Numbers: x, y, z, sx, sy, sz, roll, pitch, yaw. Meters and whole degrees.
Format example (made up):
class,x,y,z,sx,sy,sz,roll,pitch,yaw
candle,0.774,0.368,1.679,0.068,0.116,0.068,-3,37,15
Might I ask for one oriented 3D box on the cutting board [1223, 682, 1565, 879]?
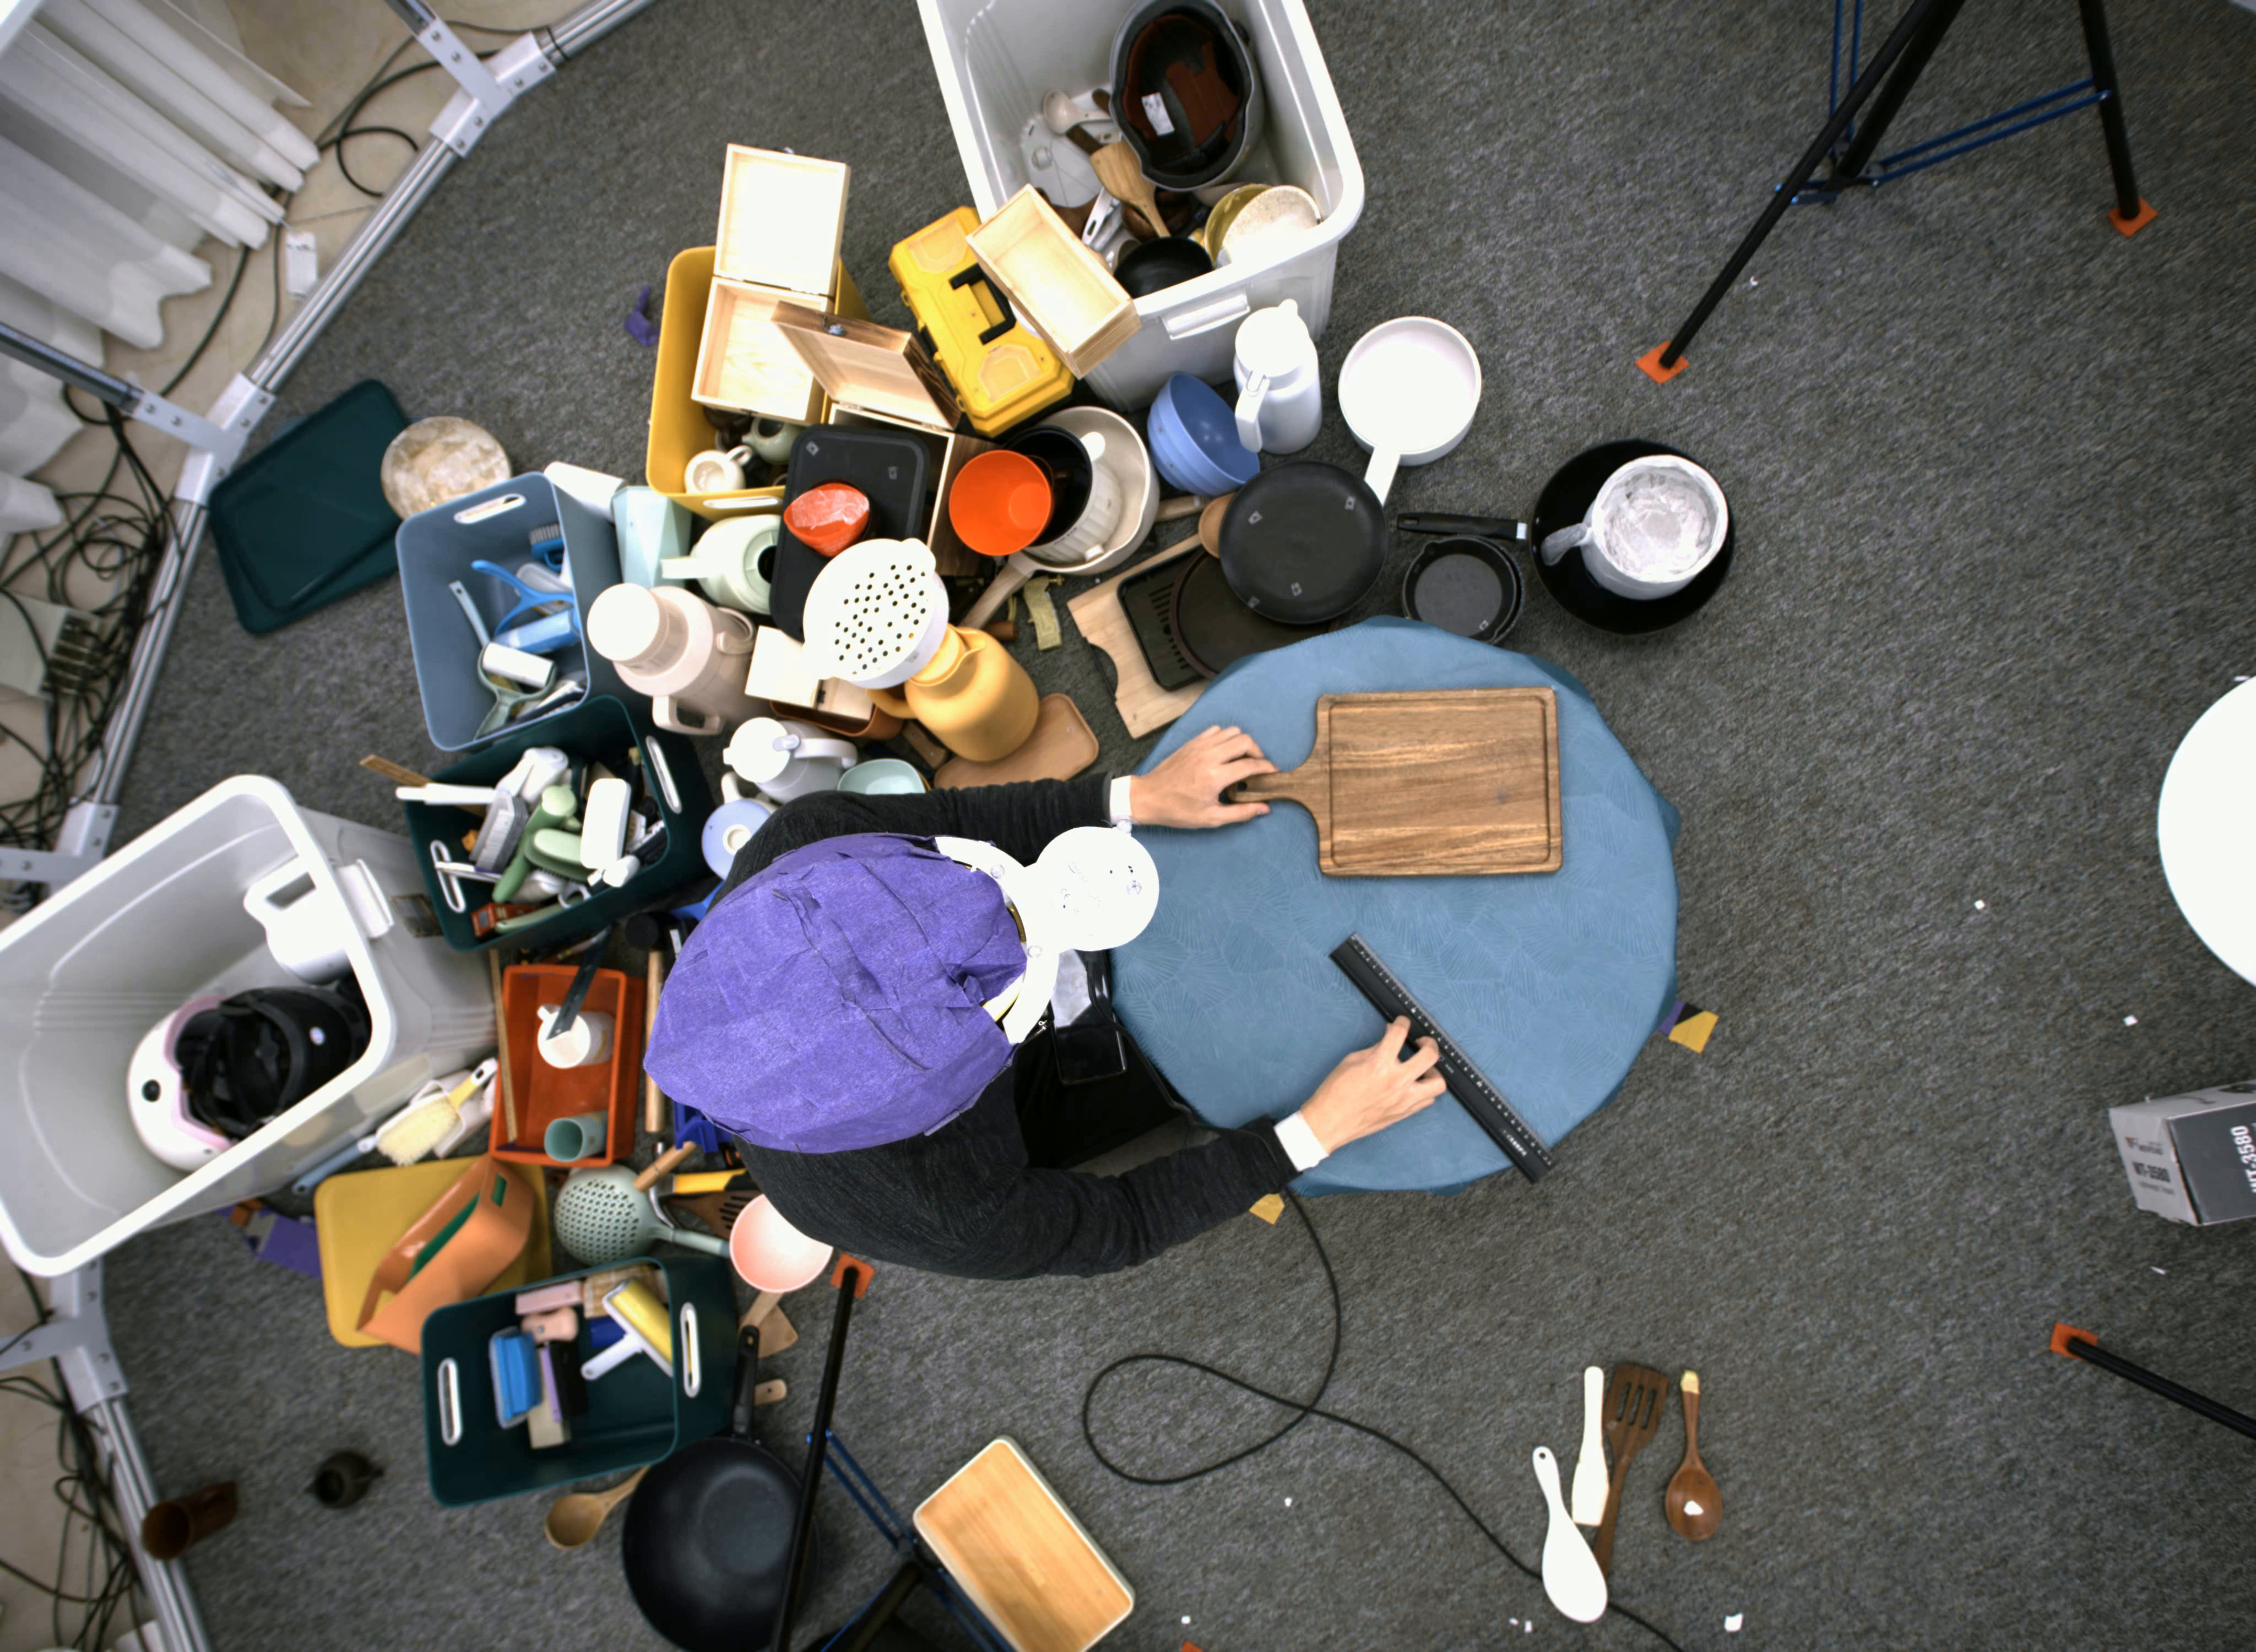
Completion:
class,x,y,z,sx,sy,sz,roll,pitch,yaw
cutting board,0.276,-0.047,1.455,0.353,0.023,0.200,-2,87,11

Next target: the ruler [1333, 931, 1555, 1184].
class,x,y,z,sx,sy,sz,roll,pitch,yaw
ruler,0.327,0.236,1.432,0.039,0.017,0.311,-41,81,5
